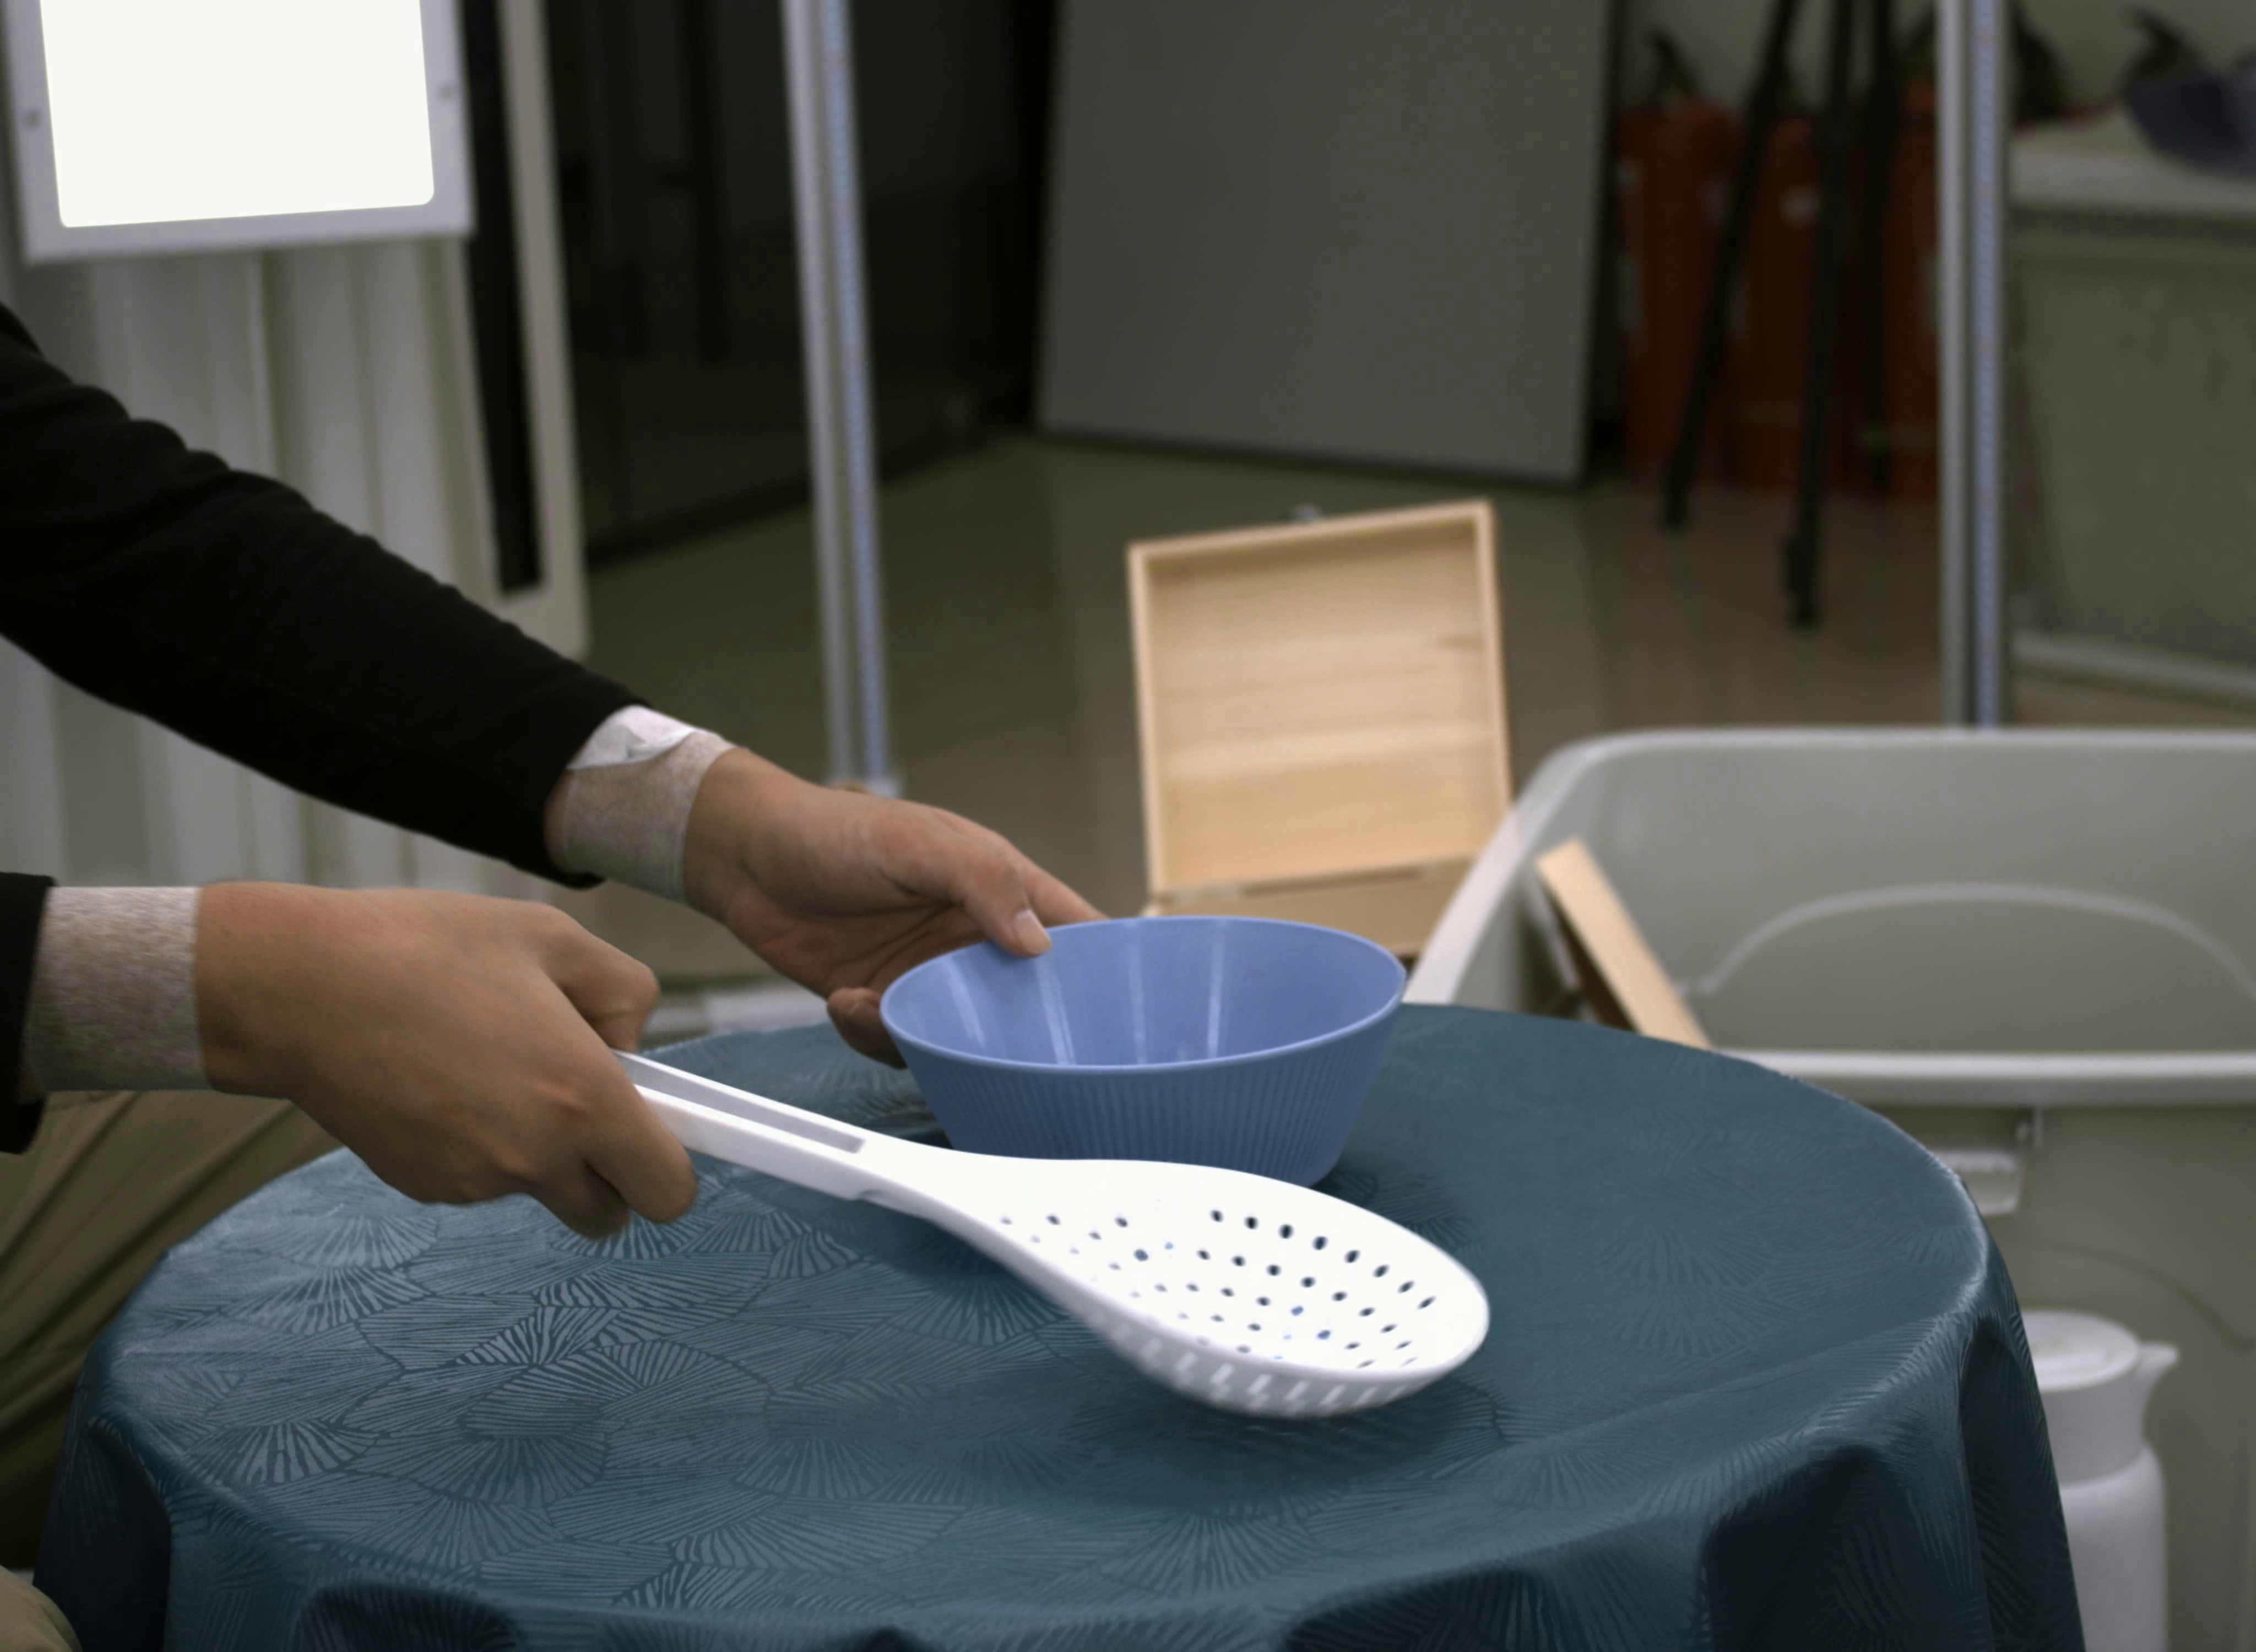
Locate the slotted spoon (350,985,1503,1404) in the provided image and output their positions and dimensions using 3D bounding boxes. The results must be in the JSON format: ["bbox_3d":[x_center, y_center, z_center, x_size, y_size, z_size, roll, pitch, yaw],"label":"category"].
[{"bbox_3d":[-0.061,0.101,1.570,0.347,0.046,0.135,20,16,7],"label":"slotted spoon"}]

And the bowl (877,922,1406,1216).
[{"bbox_3d":[0.007,0.084,1.770,0.174,0.071,0.176,-5,13,0],"label":"bowl"}]
